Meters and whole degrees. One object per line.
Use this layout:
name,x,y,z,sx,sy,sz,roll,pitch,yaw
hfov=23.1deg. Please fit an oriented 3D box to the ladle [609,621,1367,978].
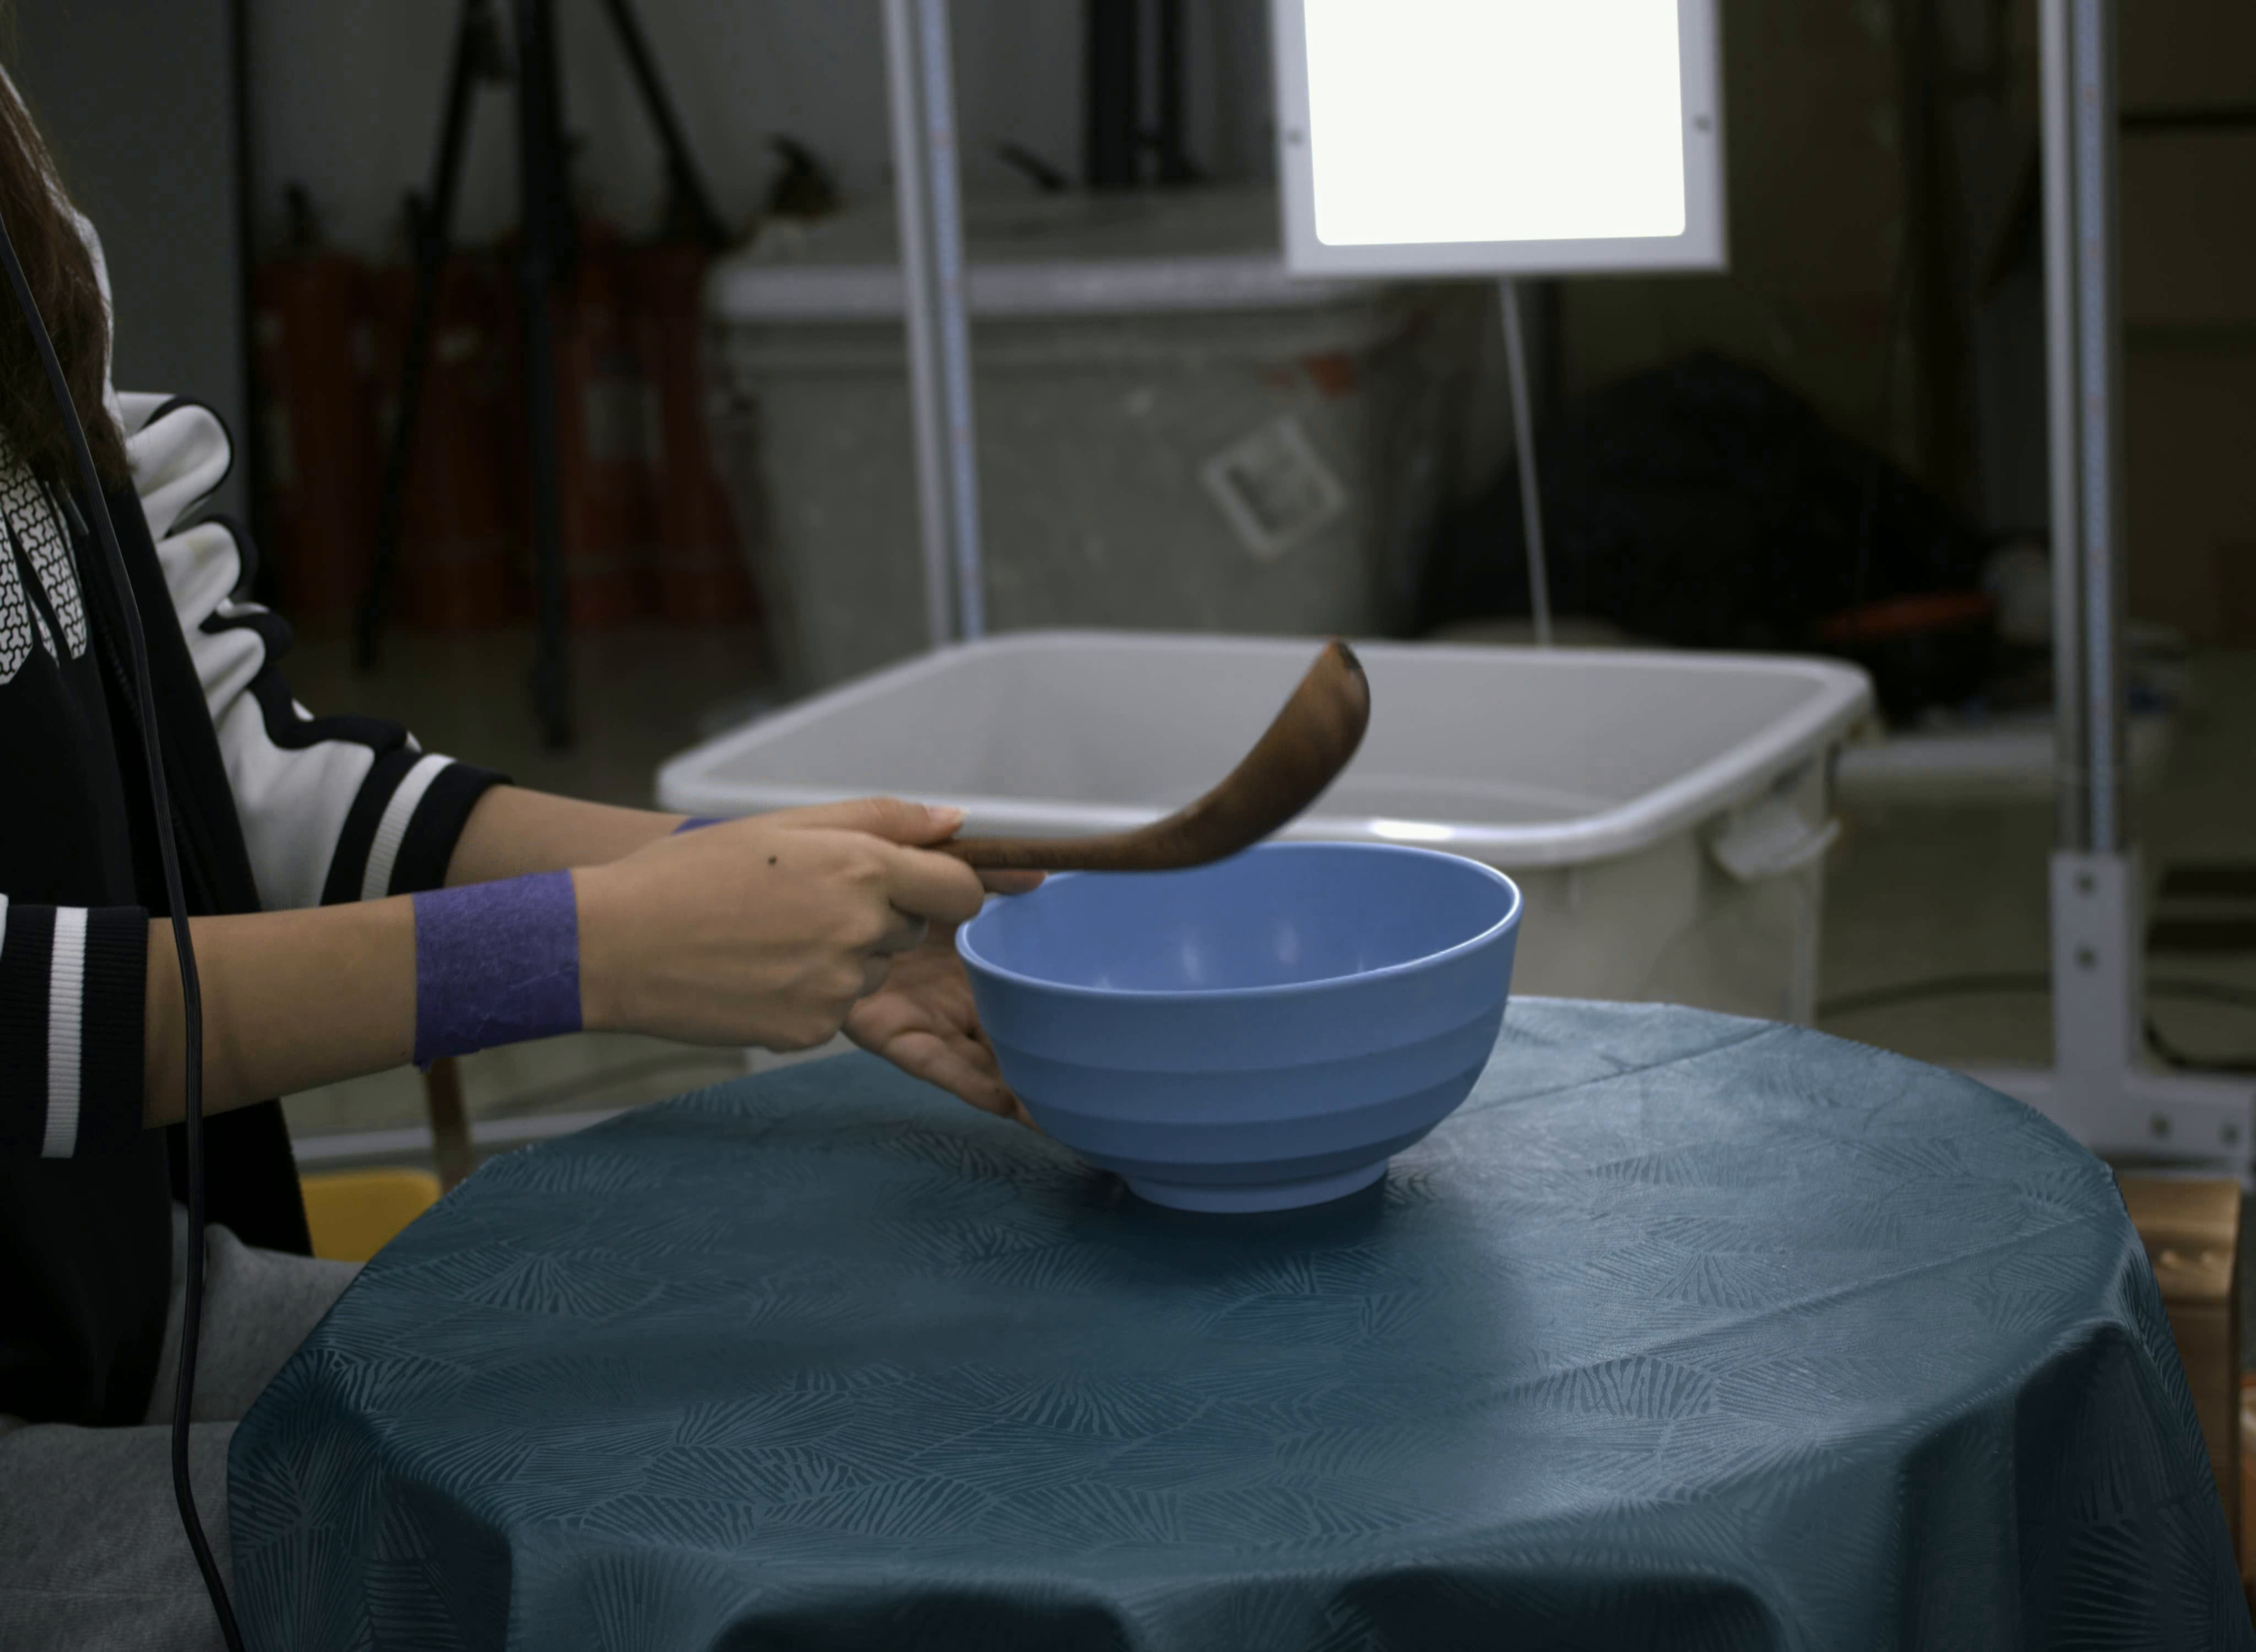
ladle,-0.047,-0.008,1.766,0.261,0.065,0.076,-12,-2,10

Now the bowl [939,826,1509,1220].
bowl,0.034,0.075,1.900,0.196,0.096,0.196,-3,19,0
